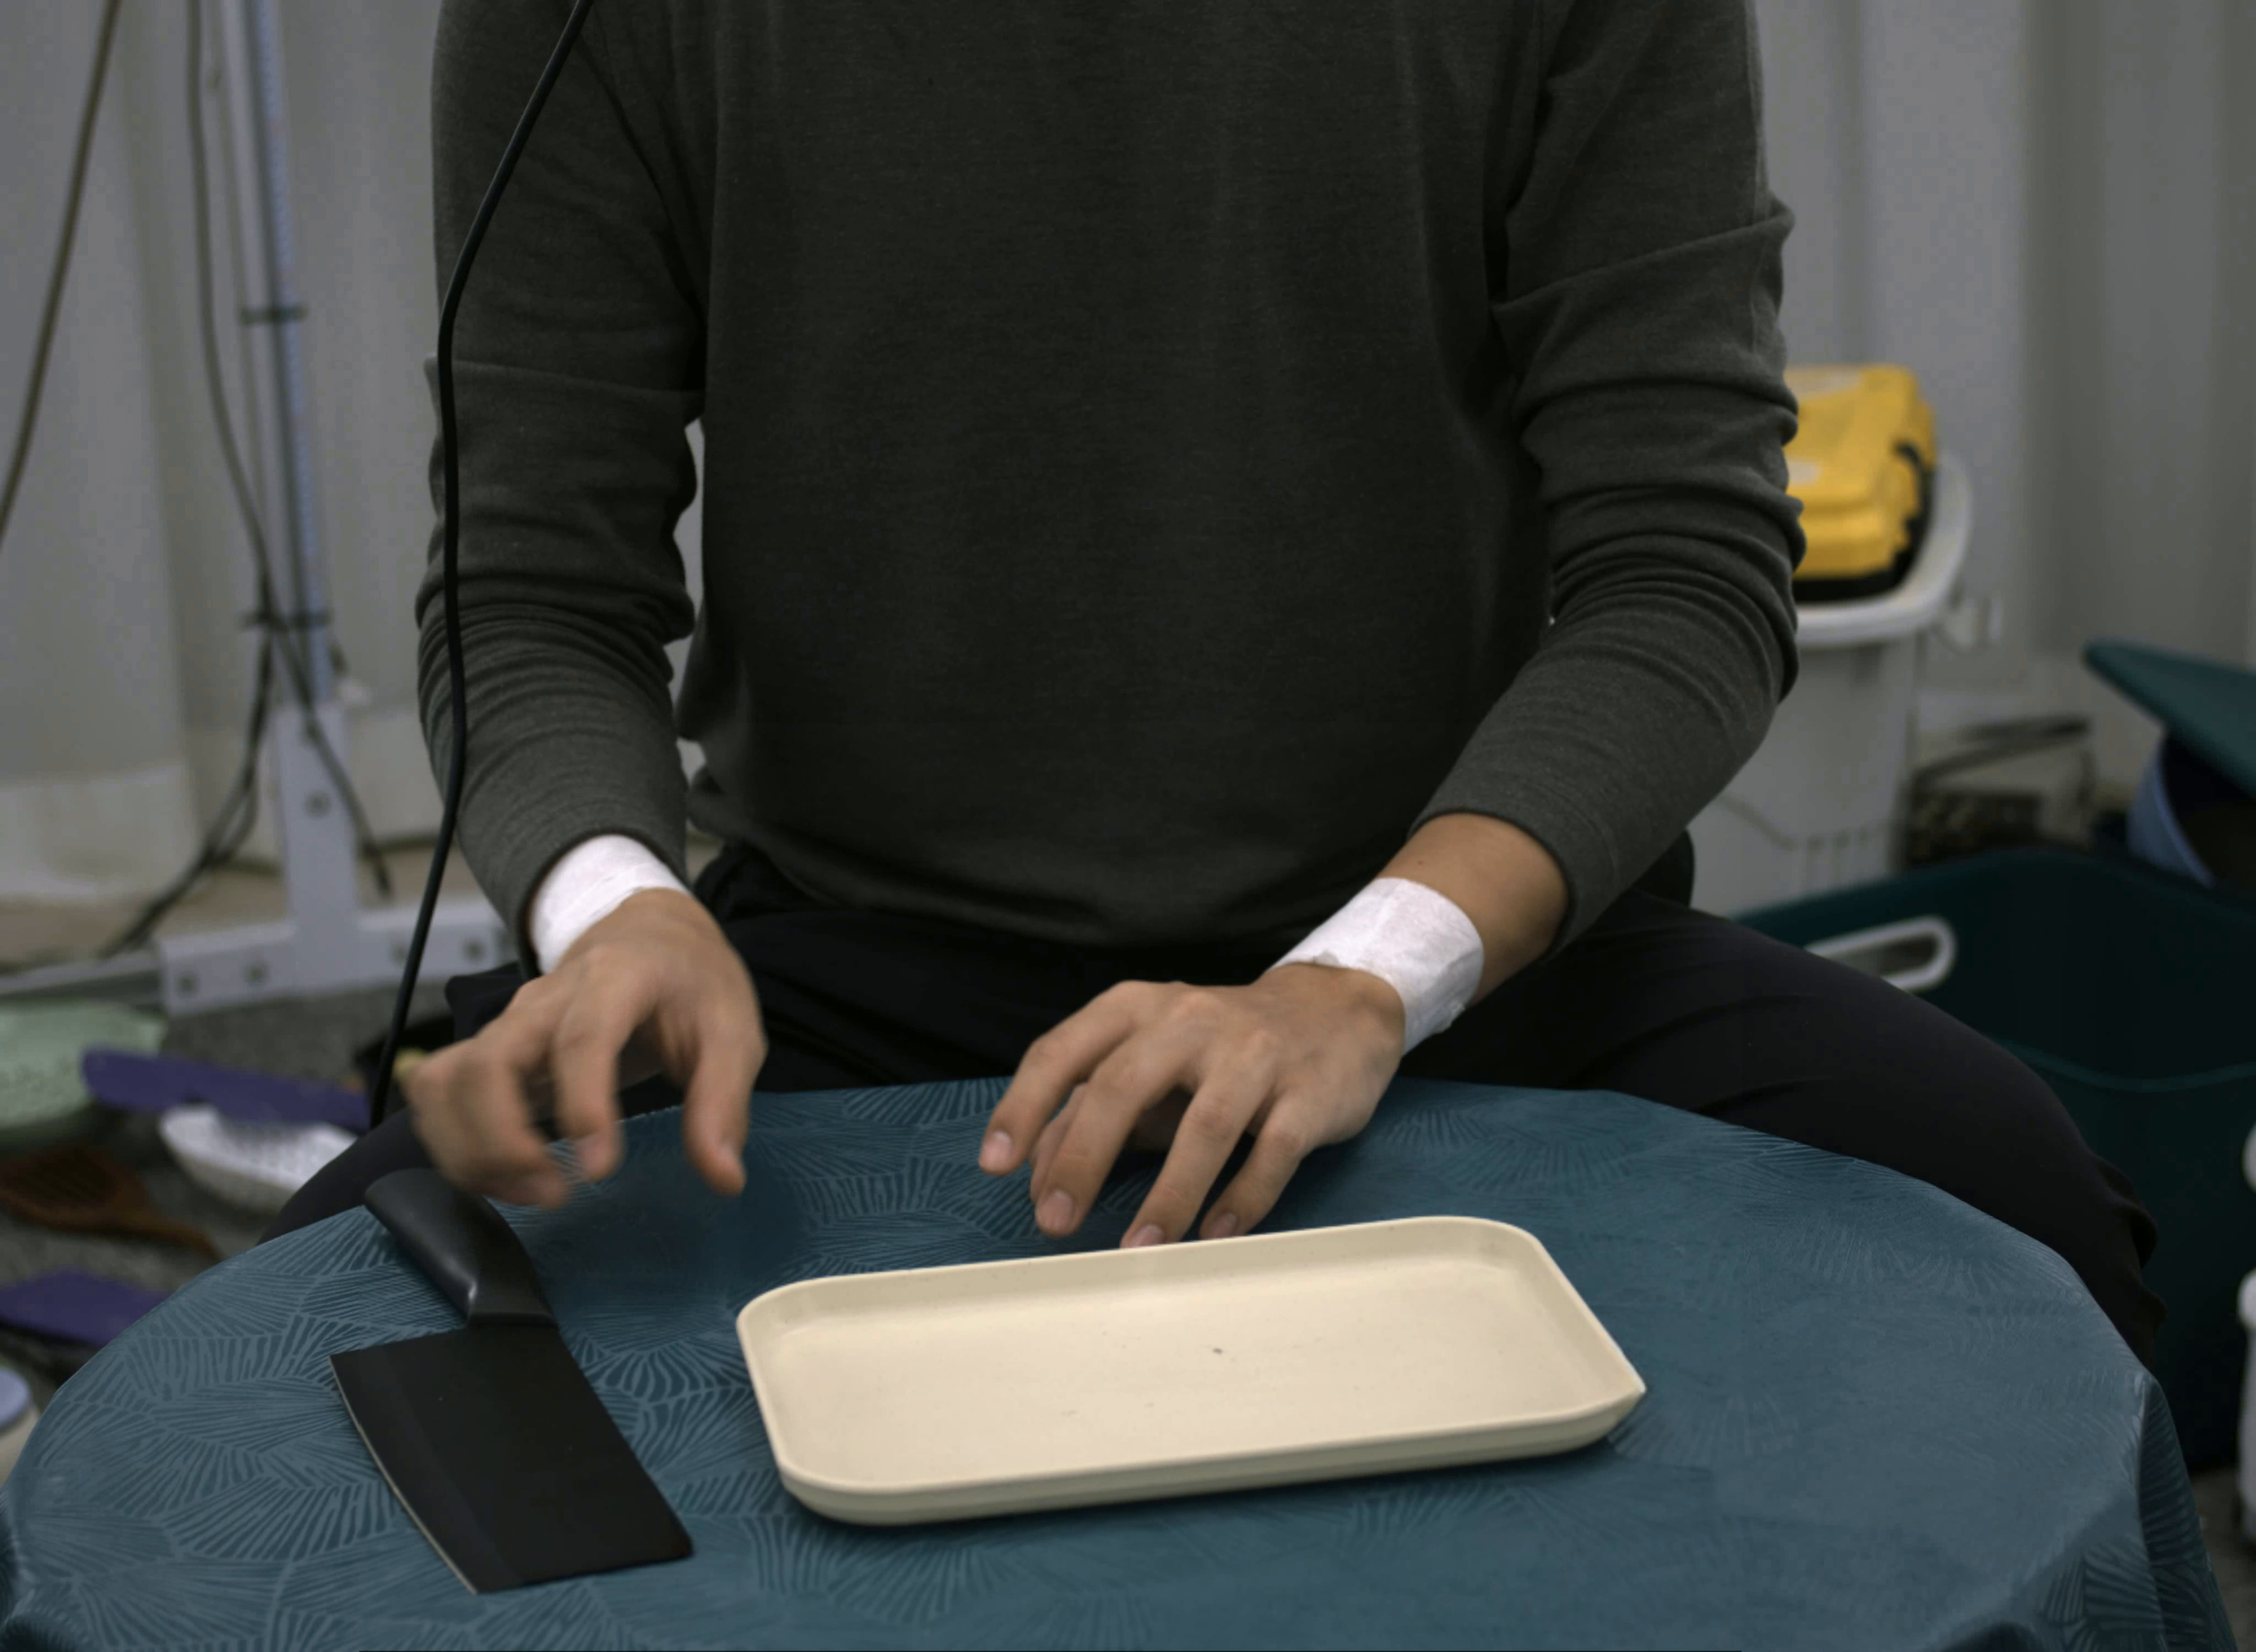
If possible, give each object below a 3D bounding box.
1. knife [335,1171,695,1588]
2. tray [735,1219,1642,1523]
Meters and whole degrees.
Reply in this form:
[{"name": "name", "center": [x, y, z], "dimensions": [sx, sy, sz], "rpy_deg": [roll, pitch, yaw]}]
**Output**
[{"name": "knife", "center": [-0.188, 0.156, 1.570], "dimensions": [0.080, 0.021, 0.305], "rpy_deg": [-8, 17, -13]}, {"name": "tray", "center": [0.014, 0.153, 1.536], "dimensions": [0.238, 0.017, 0.172], "rpy_deg": [-5, 14, -9]}]
